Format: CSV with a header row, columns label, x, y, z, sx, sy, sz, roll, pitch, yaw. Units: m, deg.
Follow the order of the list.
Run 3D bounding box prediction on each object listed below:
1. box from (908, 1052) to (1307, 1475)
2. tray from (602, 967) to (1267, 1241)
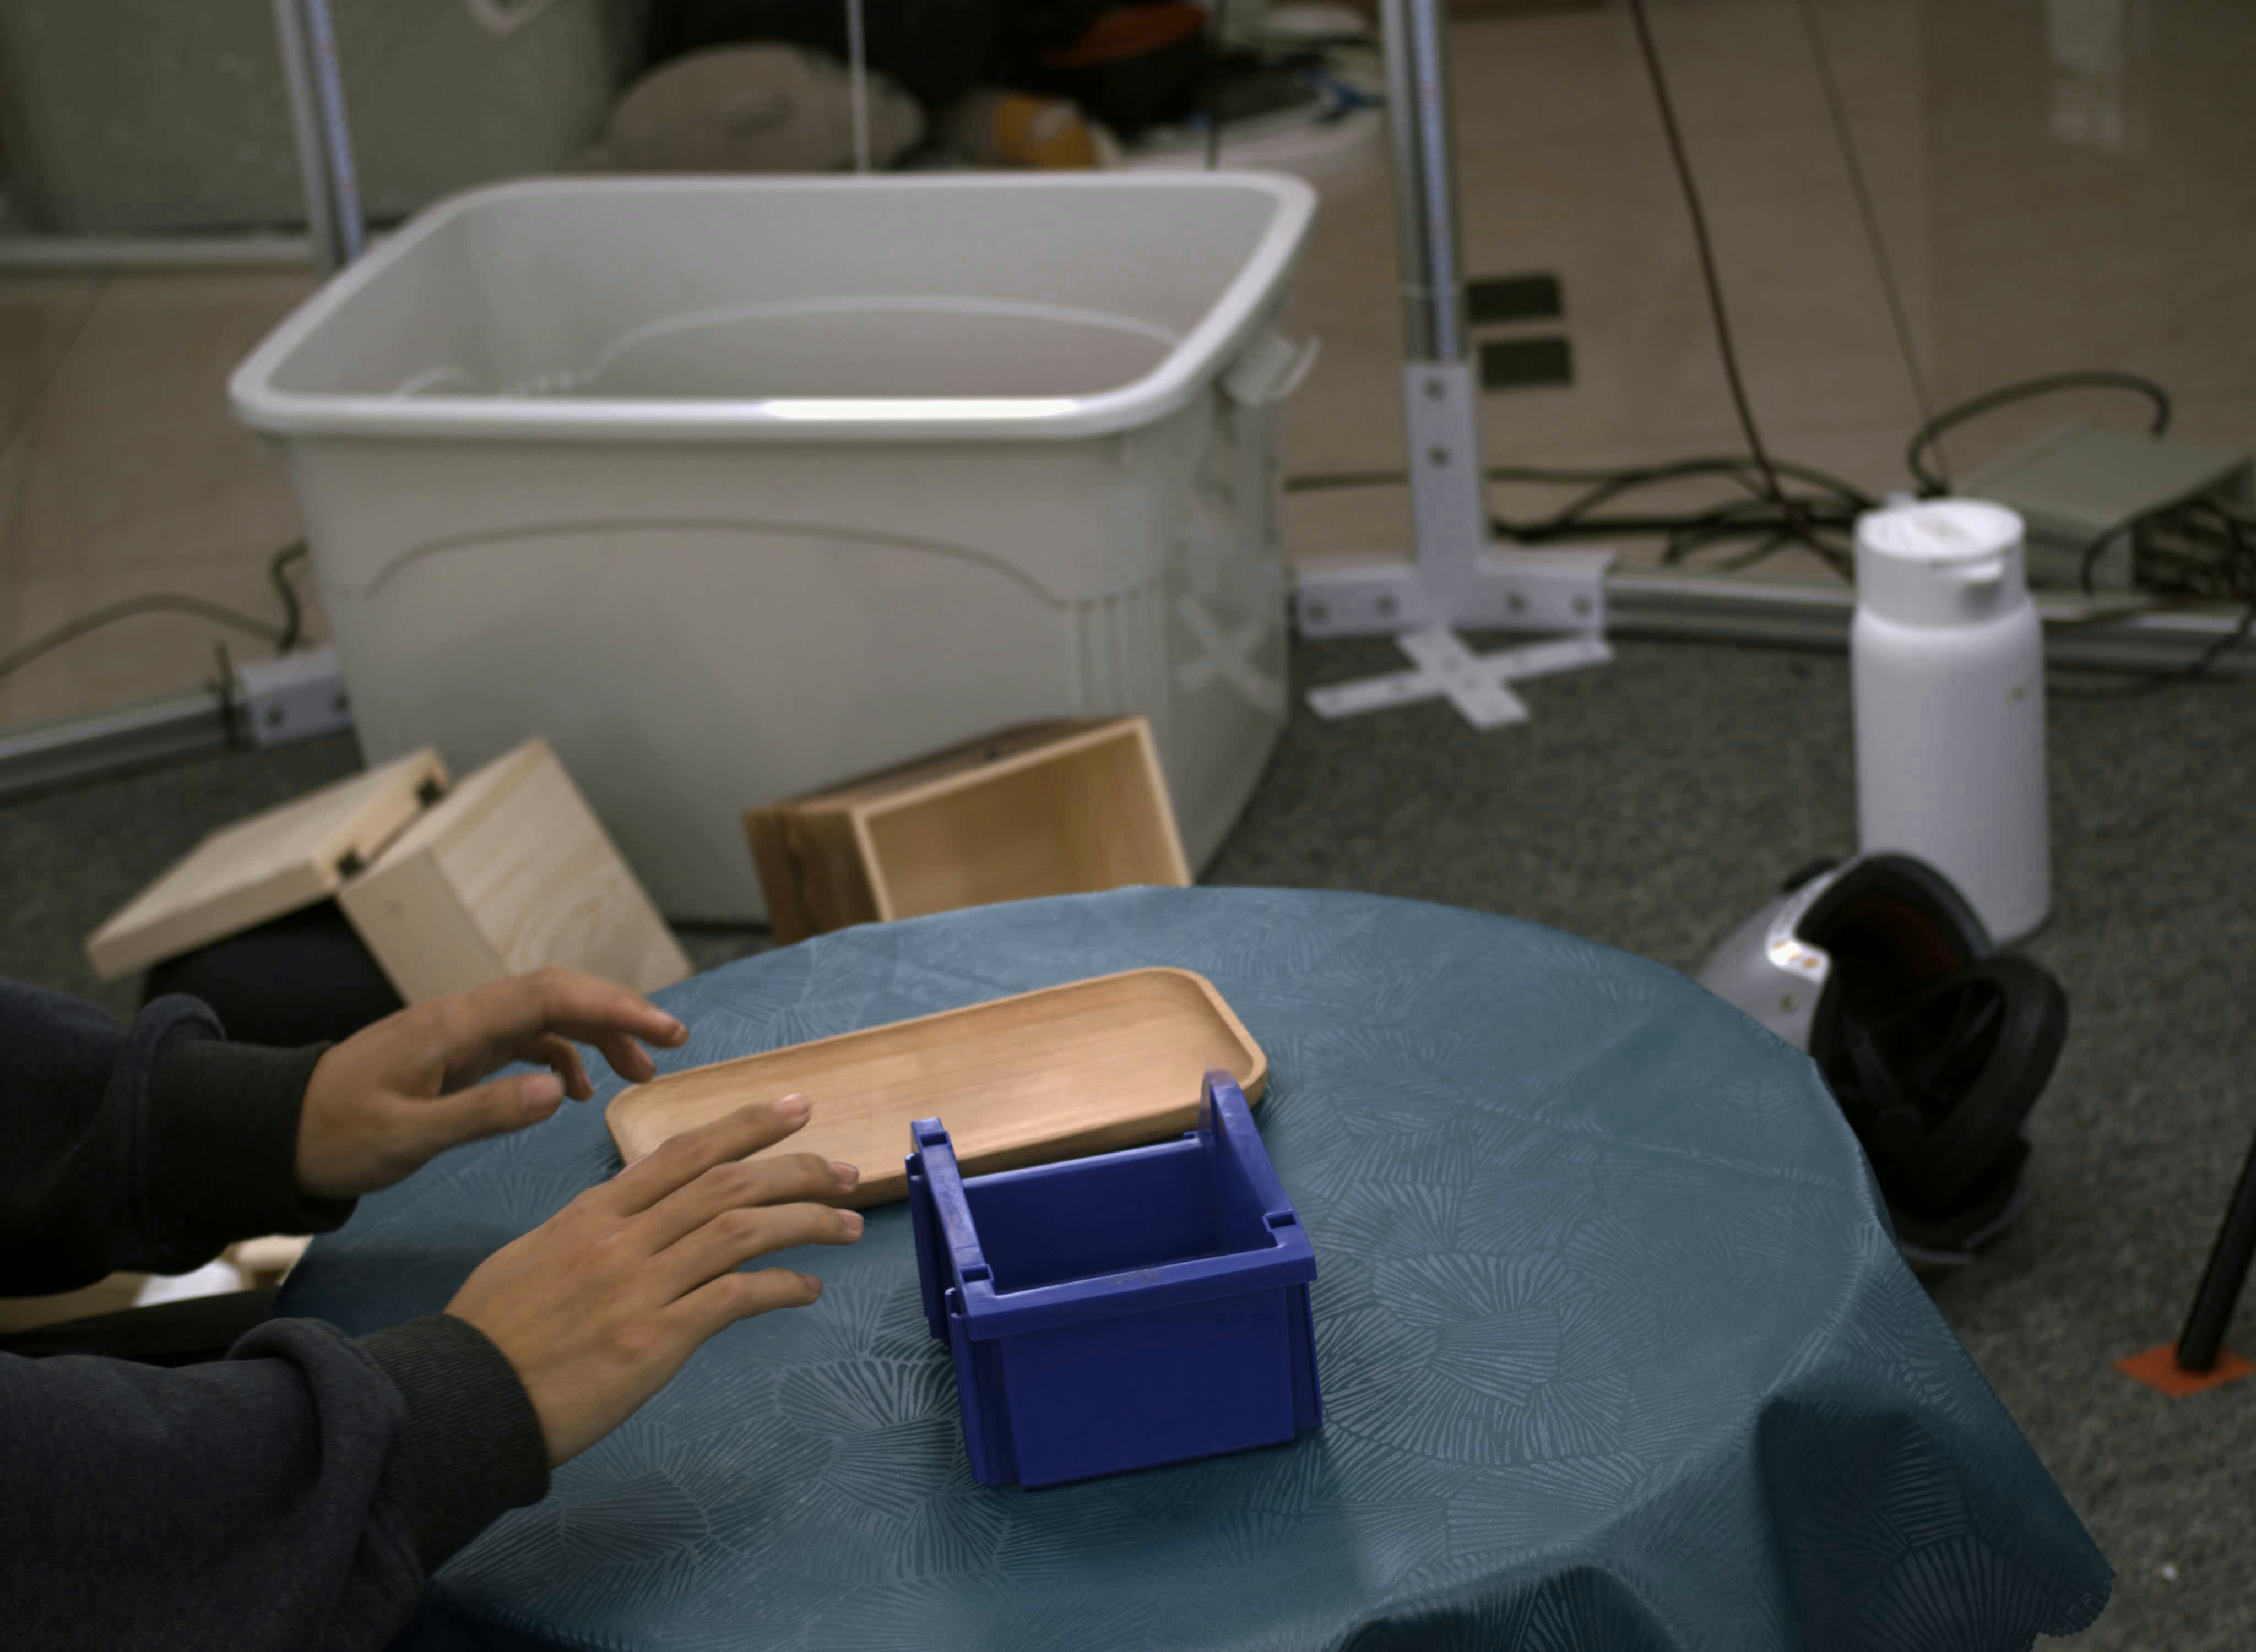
label,x,y,z,sx,sy,sz,roll,pitch,yaw
box,-0.011,0.151,2.024,0.124,0.083,0.176,-9,28,-4
tray,-0.075,0.108,2.212,0.250,0.023,0.129,-13,23,-12
